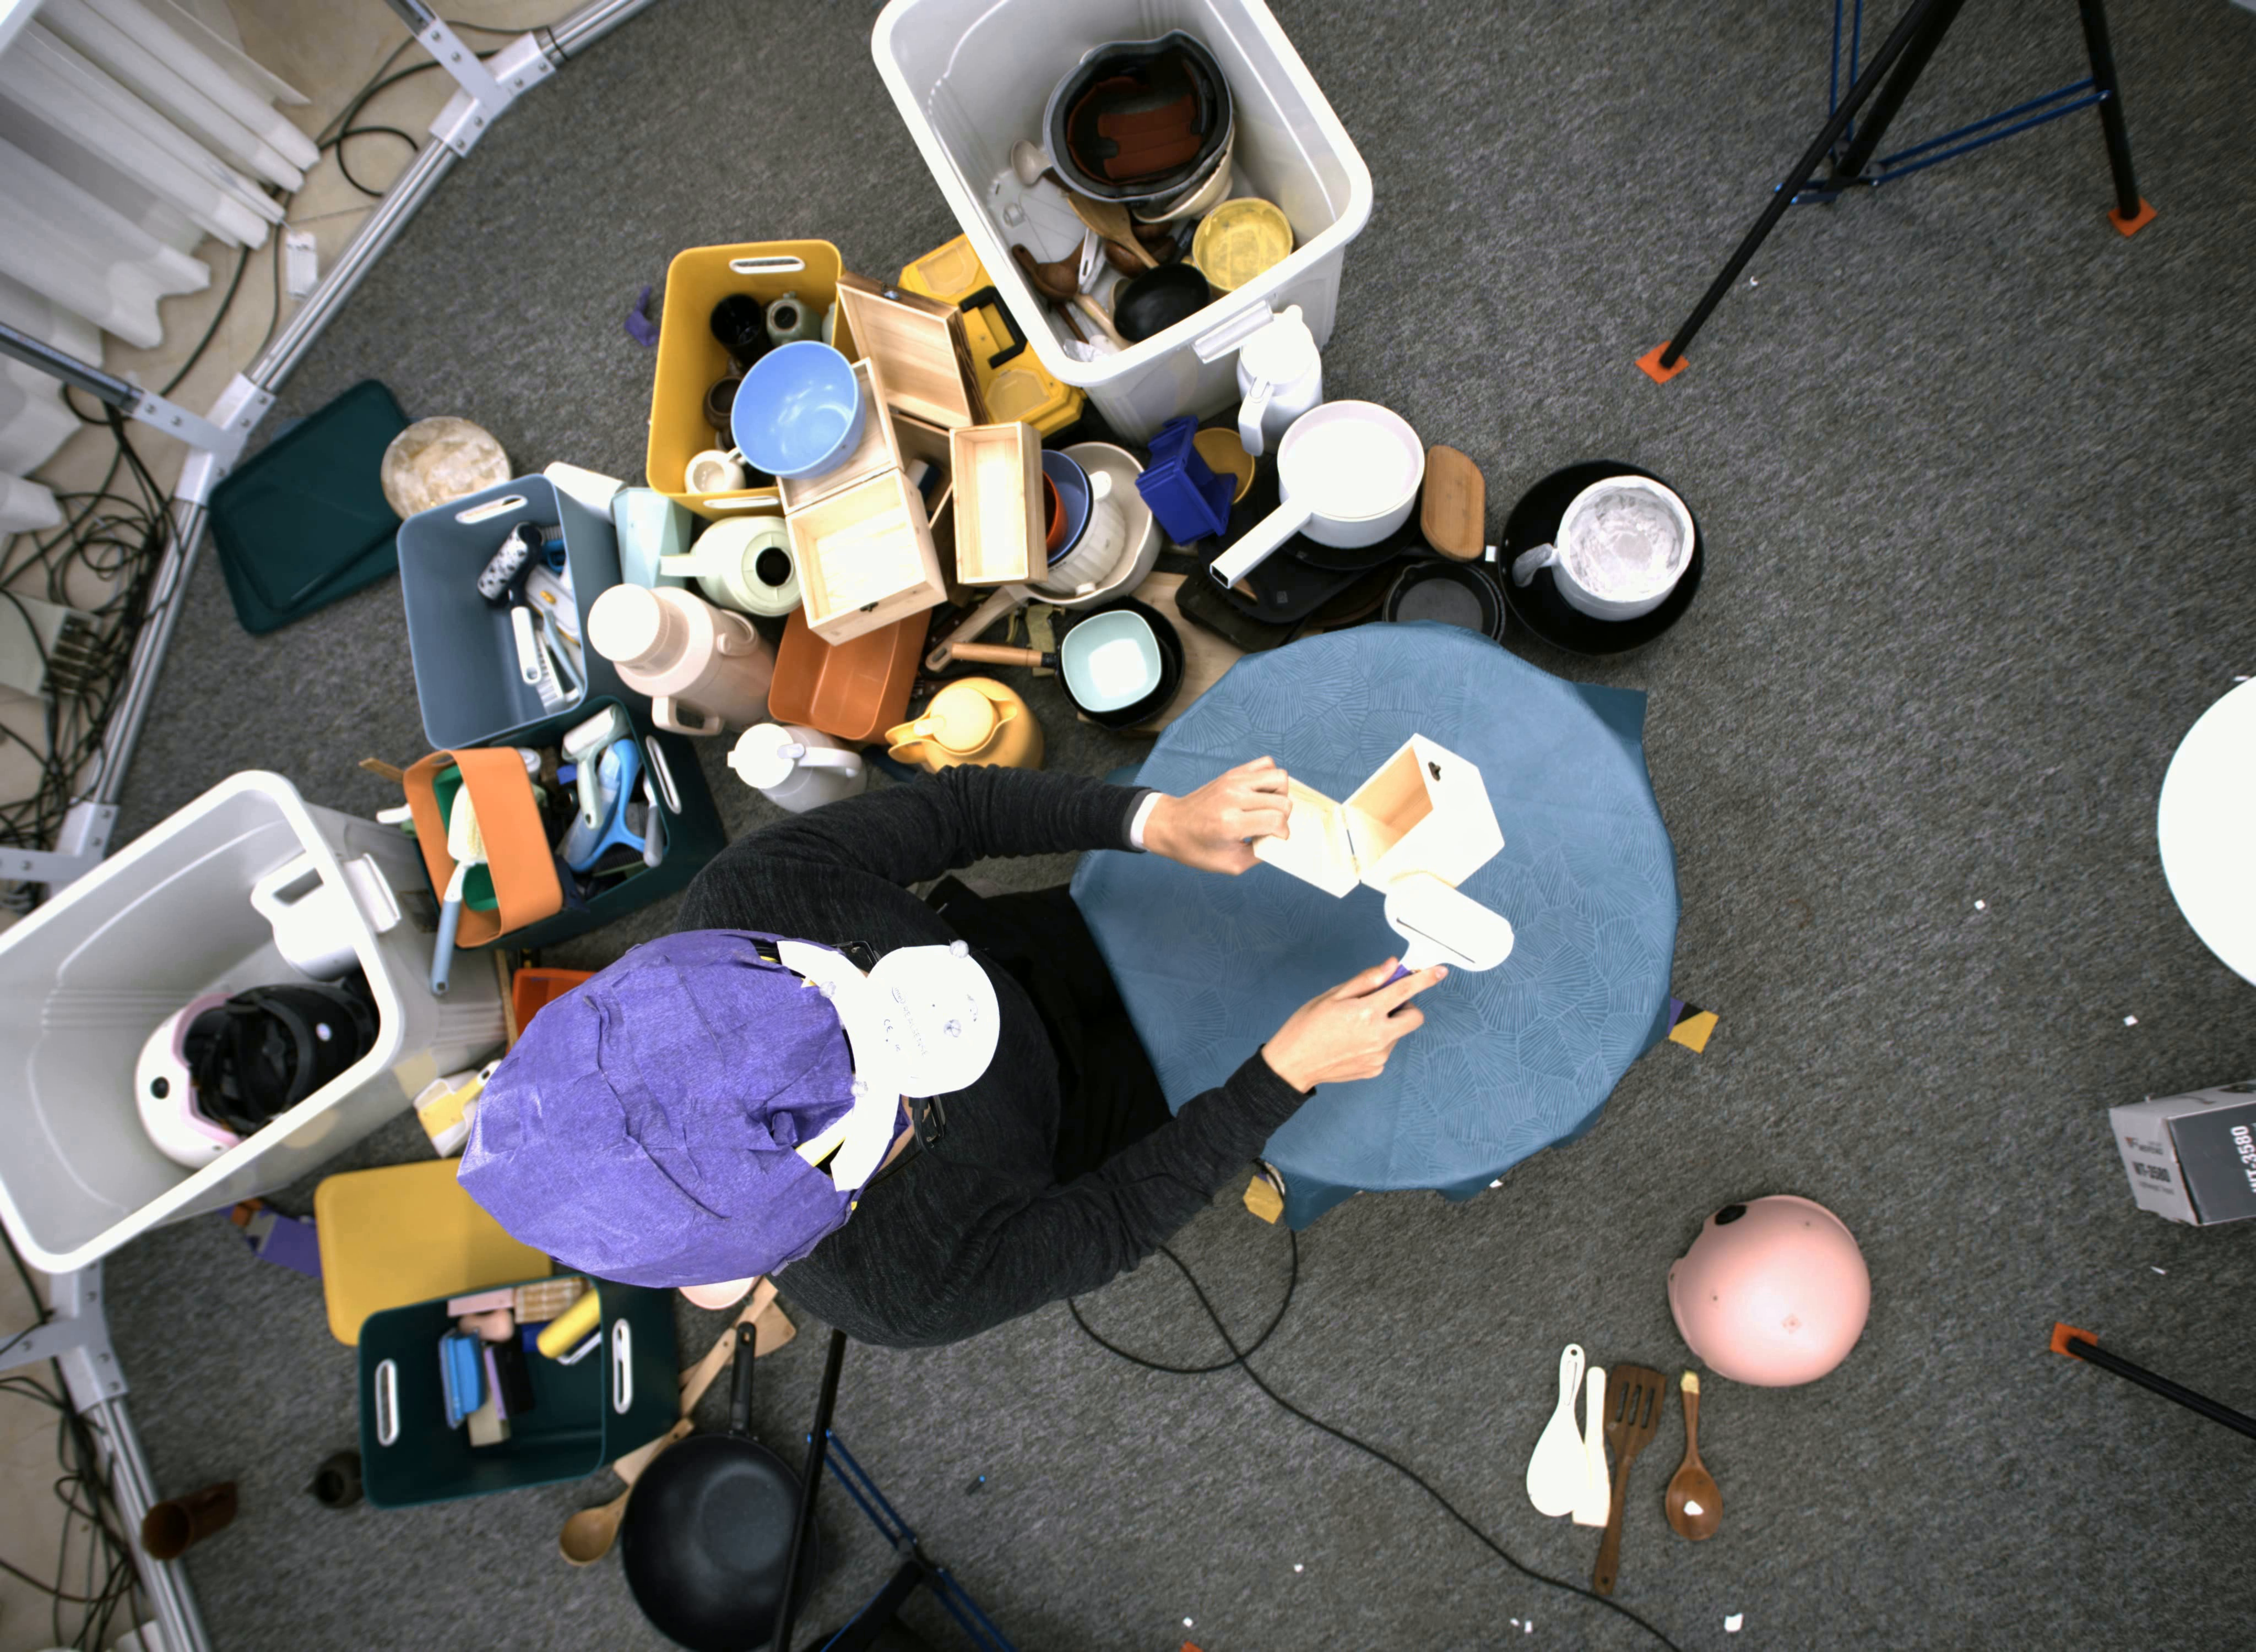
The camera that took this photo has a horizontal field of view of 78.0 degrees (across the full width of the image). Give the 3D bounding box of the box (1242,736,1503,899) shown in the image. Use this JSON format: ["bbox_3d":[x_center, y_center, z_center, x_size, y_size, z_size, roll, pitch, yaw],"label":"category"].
[{"bbox_3d":[0.211,-0.016,1.205,0.185,0.100,0.137,25,128,-25],"label":"box"}]

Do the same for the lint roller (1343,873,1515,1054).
[{"bbox_3d":[0.250,0.134,1.219,0.133,0.049,0.182,28,102,-28],"label":"lint roller"}]
